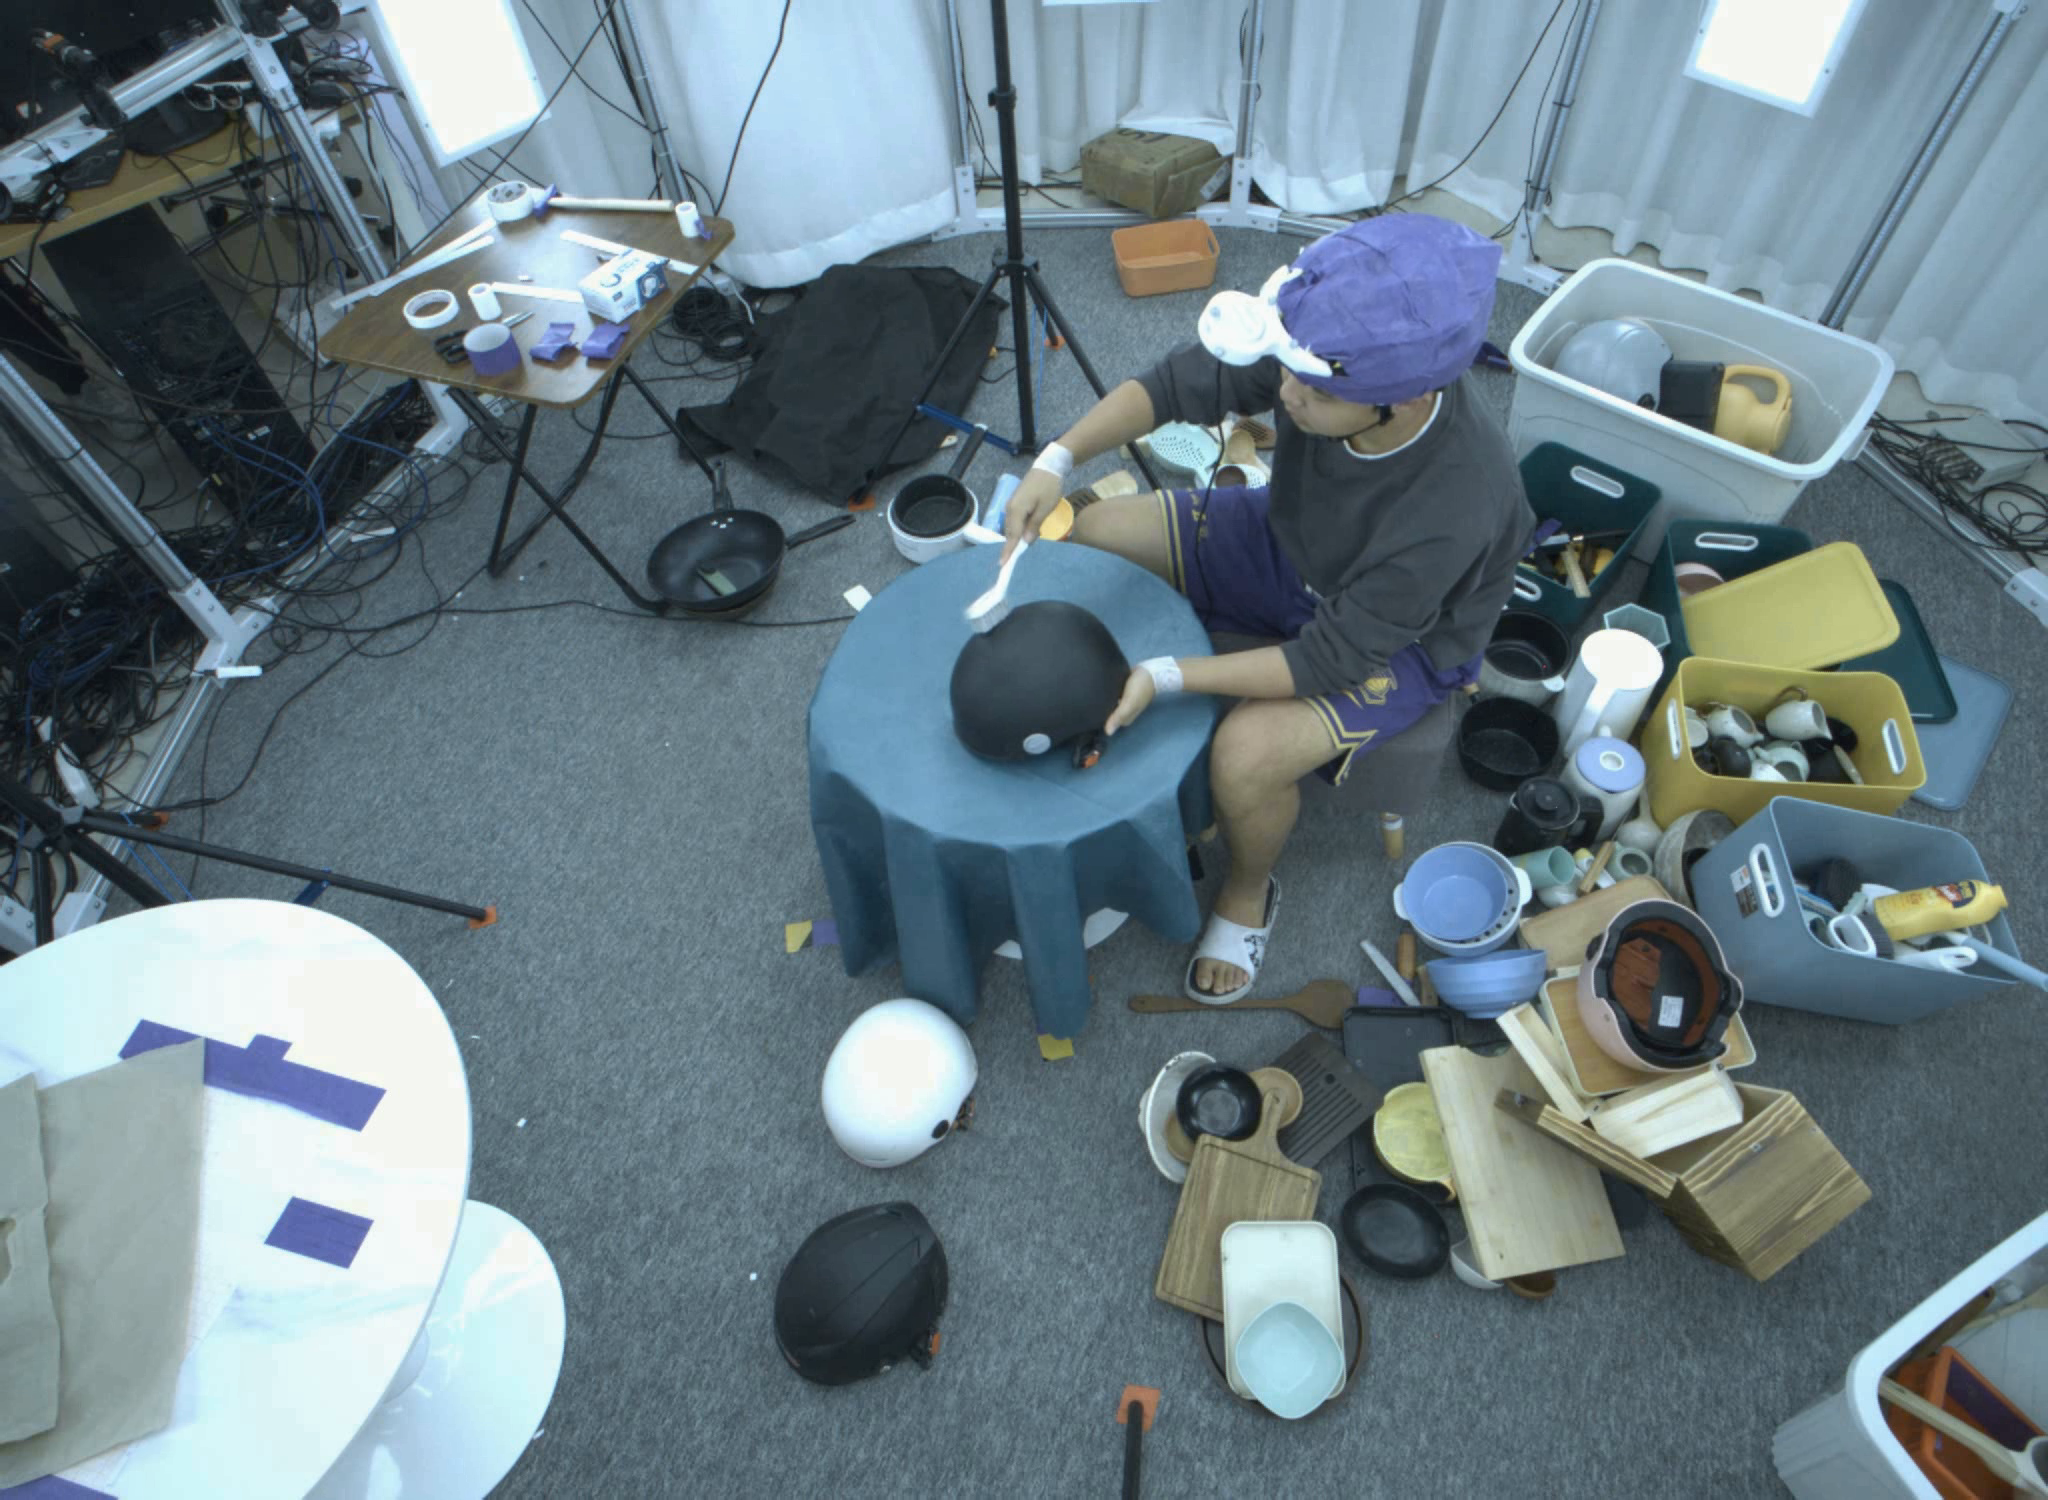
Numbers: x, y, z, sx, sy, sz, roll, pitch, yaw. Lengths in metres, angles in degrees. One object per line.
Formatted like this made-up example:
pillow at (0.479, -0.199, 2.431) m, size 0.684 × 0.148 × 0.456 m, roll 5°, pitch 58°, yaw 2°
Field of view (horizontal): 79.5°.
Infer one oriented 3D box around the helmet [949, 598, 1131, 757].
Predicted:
helmet at (0.013, -0.120, 1.768) m, size 0.274 × 0.169 × 0.226 m, roll -18°, pitch 48°, yaw -5°

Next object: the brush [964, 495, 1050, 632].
brush at (-0.013, -0.268, 1.769) m, size 0.033 × 0.051 × 0.244 m, roll -1°, pitch 53°, yaw 51°
